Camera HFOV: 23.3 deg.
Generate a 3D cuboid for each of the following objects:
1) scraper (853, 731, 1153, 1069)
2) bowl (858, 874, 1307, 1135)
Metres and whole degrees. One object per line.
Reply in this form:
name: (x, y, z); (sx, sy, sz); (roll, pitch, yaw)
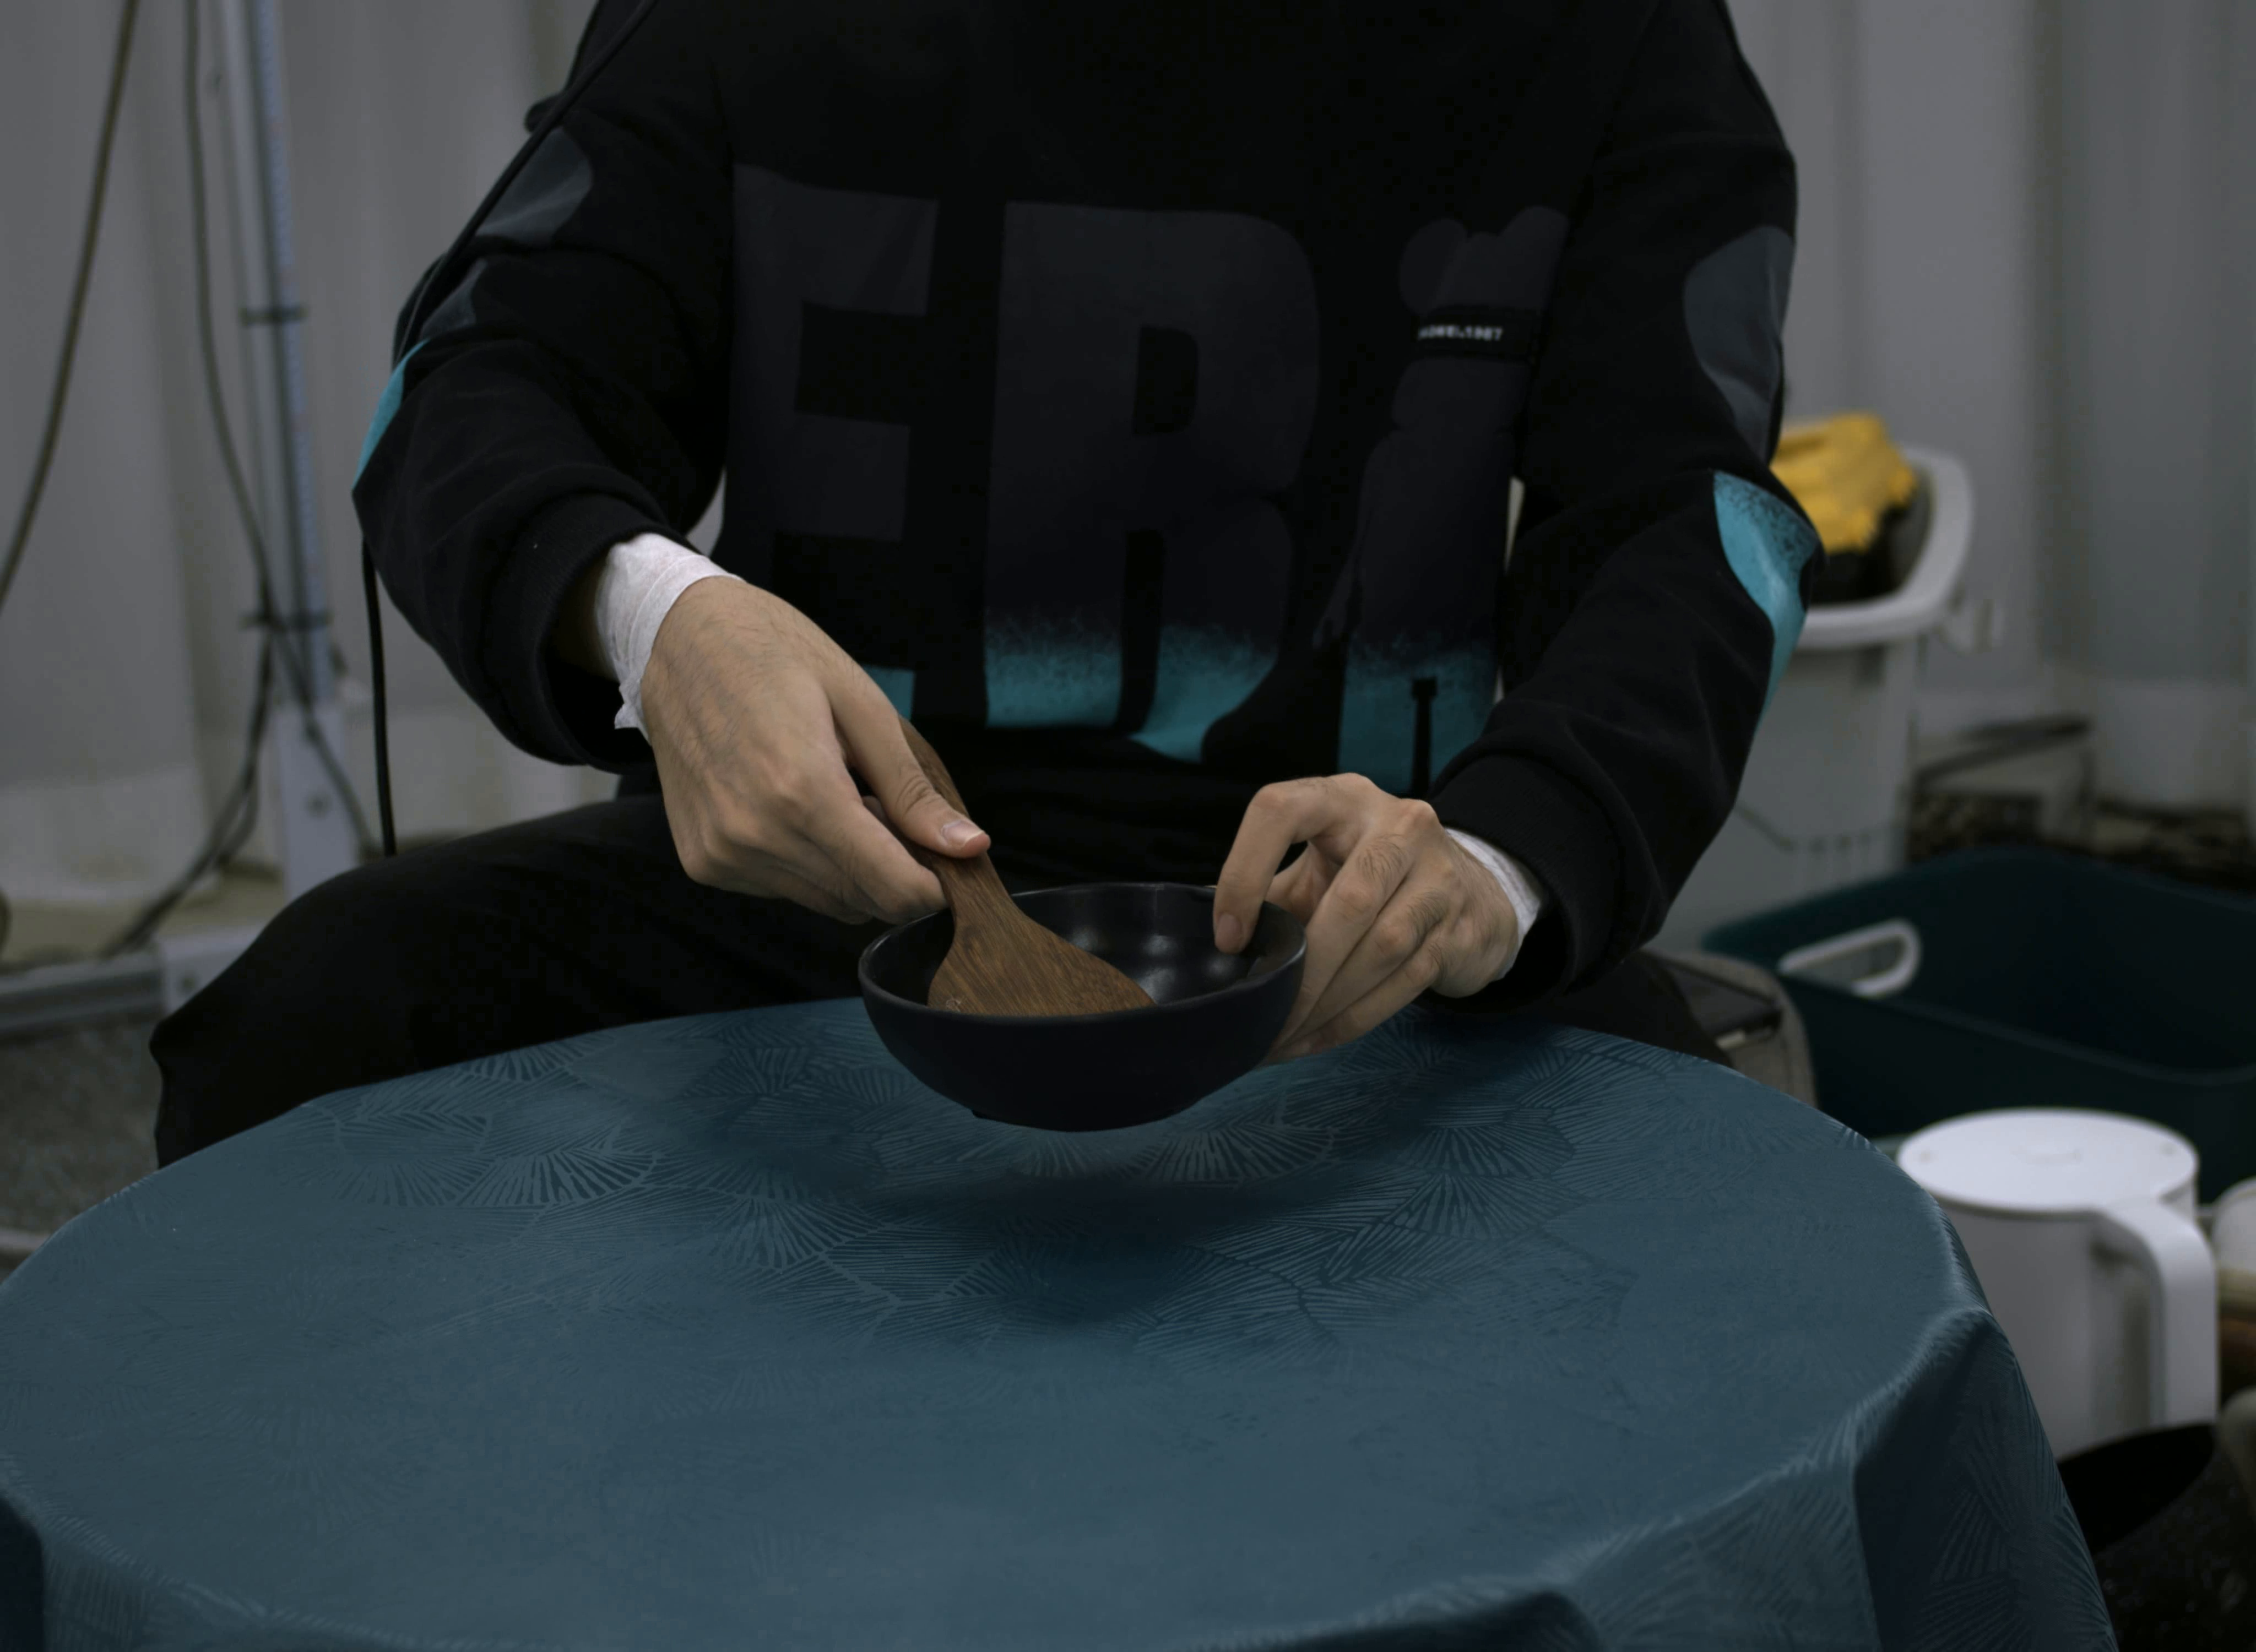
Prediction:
scraper: (-0.047, 0.022, 1.725); (0.075, 0.011, 0.214); (-2, 30, -20)
bowl: (-0.011, 0.059, 1.679); (0.139, 0.049, 0.141); (-6, 16, 1)
